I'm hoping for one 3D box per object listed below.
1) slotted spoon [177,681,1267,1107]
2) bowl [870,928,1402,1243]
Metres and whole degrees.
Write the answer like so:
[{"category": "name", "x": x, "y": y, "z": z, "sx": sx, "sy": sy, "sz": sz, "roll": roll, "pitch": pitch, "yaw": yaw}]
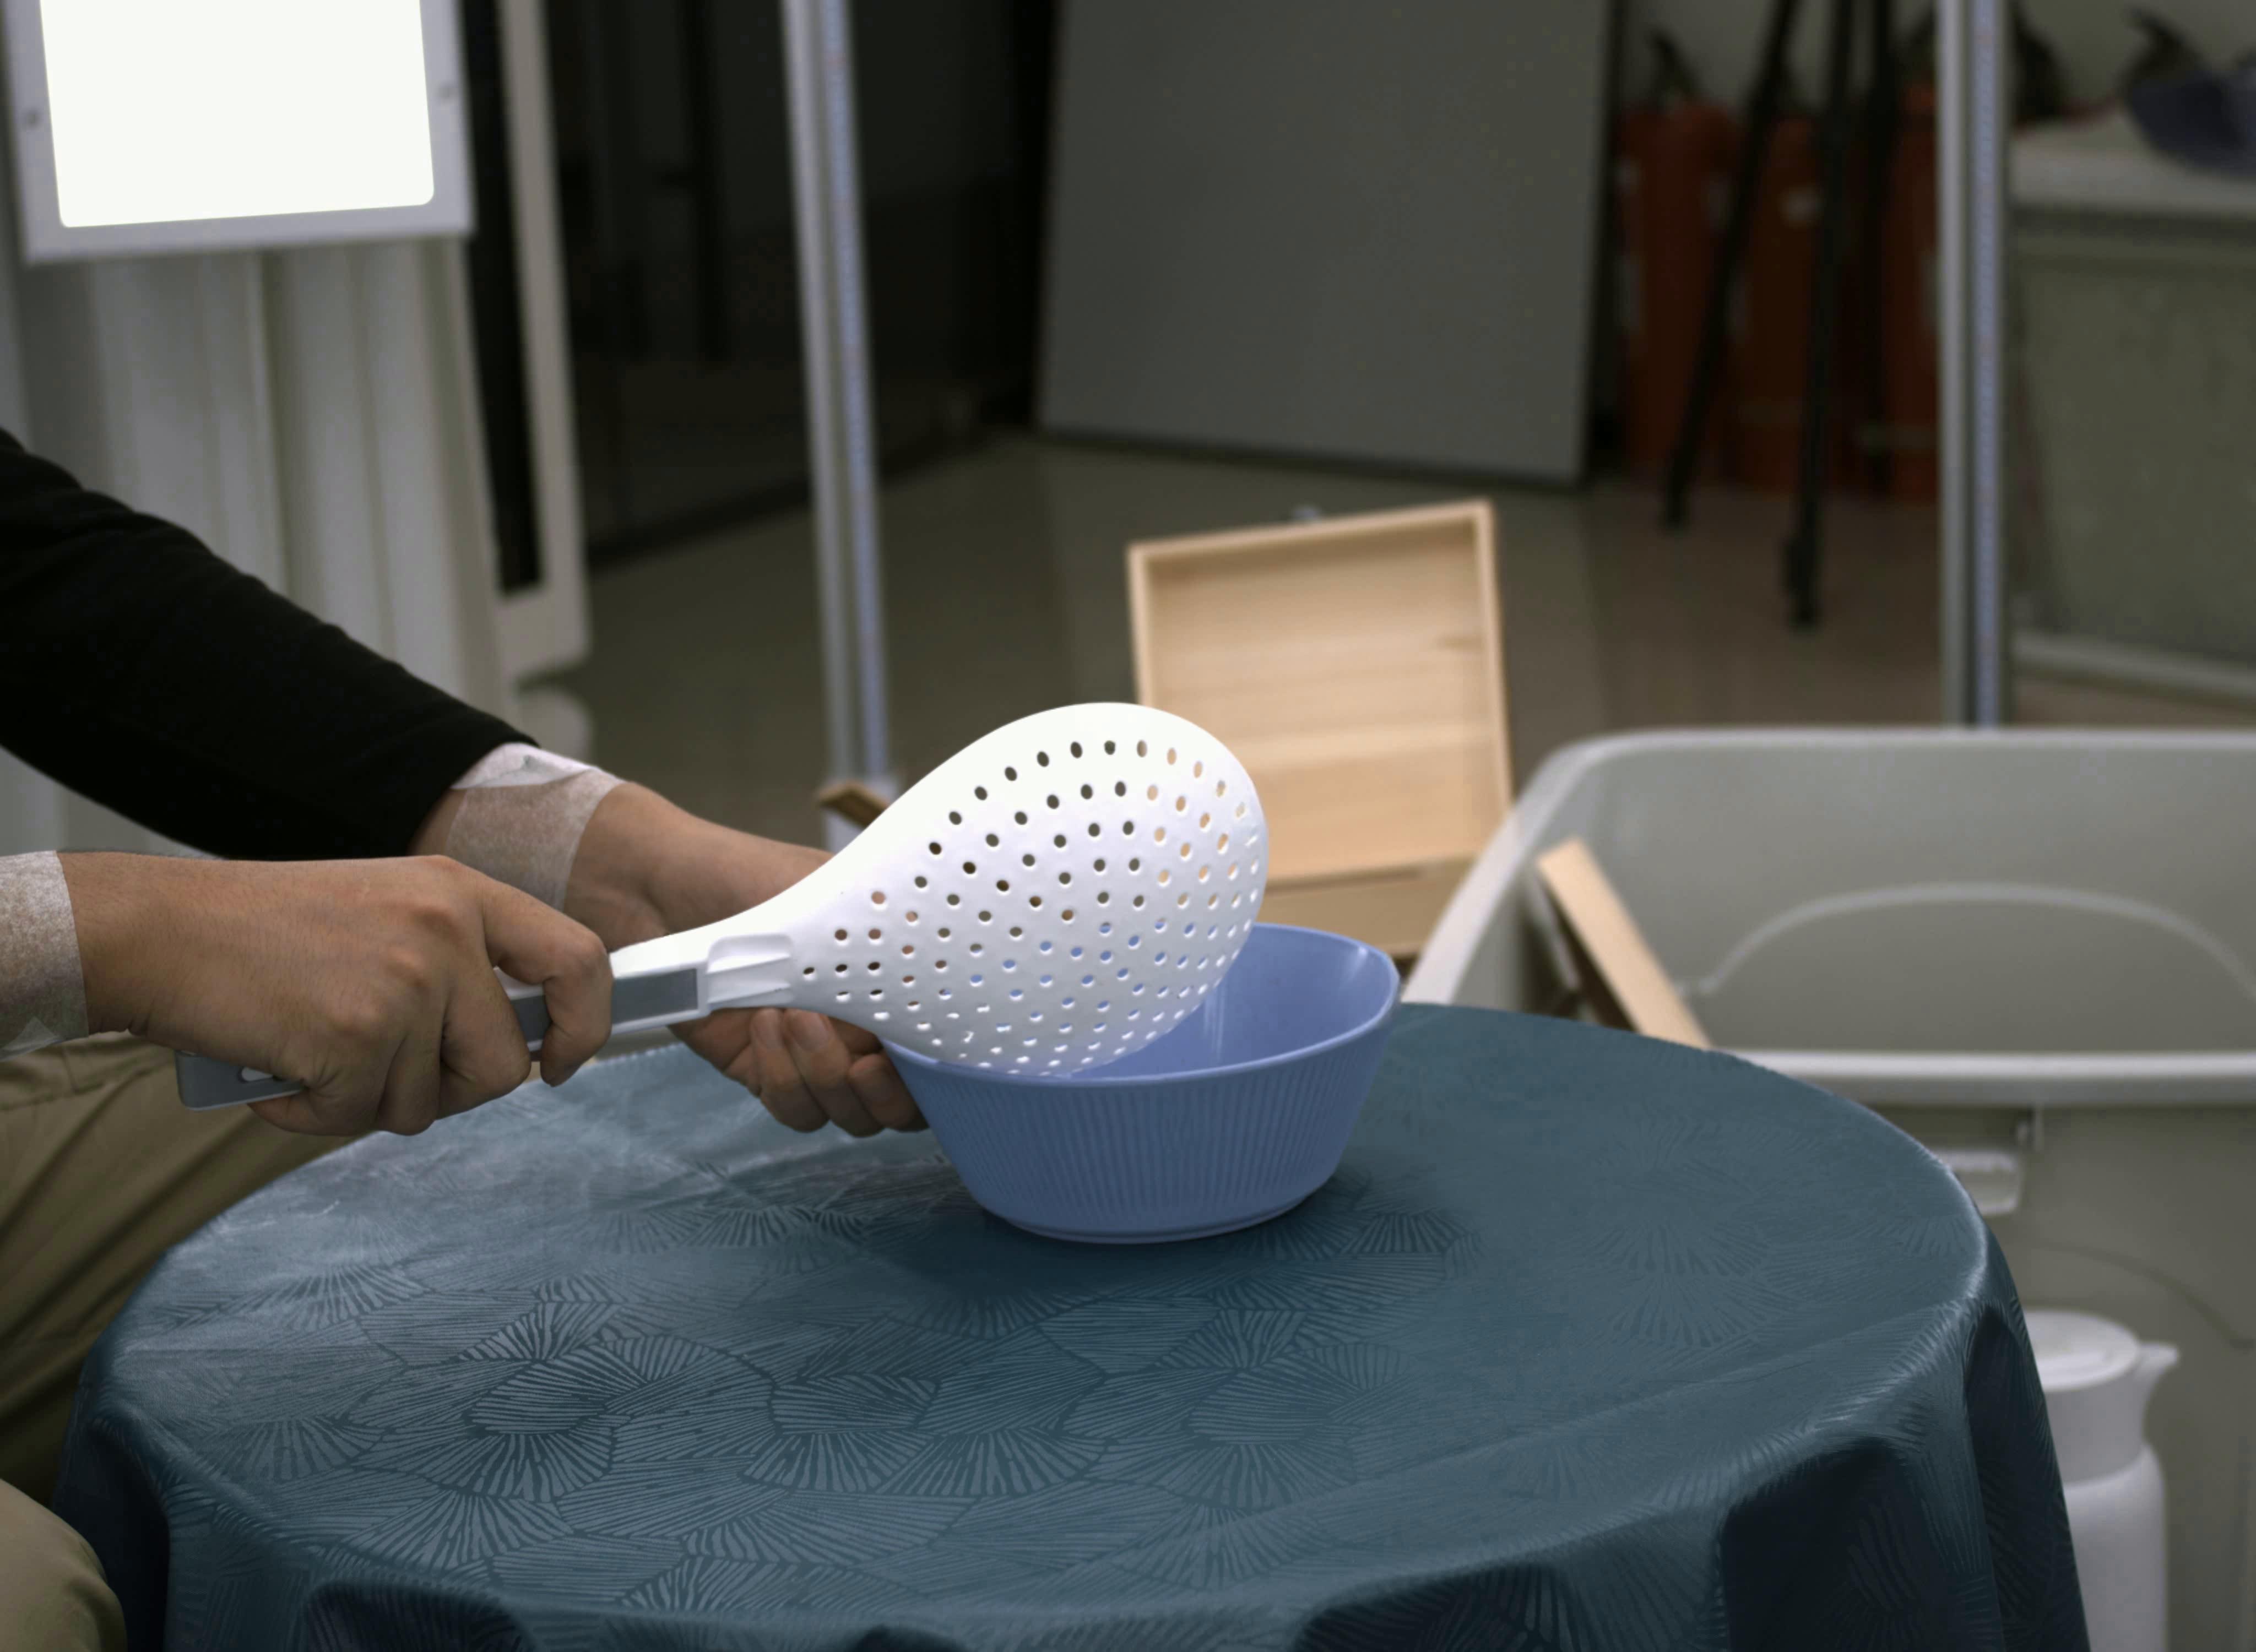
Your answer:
[{"category": "slotted spoon", "x": -0.117, "y": 0.039, "z": 1.648, "sx": 0.343, "sy": 0.137, "sz": 0.046, "roll": -8, "pitch": 30, "yaw": -12}, {"category": "bowl", "x": 0.005, "y": 0.087, "z": 1.759, "sx": 0.174, "sy": 0.071, "sz": 0.176, "roll": -6, "pitch": 14, "yaw": 0}]
